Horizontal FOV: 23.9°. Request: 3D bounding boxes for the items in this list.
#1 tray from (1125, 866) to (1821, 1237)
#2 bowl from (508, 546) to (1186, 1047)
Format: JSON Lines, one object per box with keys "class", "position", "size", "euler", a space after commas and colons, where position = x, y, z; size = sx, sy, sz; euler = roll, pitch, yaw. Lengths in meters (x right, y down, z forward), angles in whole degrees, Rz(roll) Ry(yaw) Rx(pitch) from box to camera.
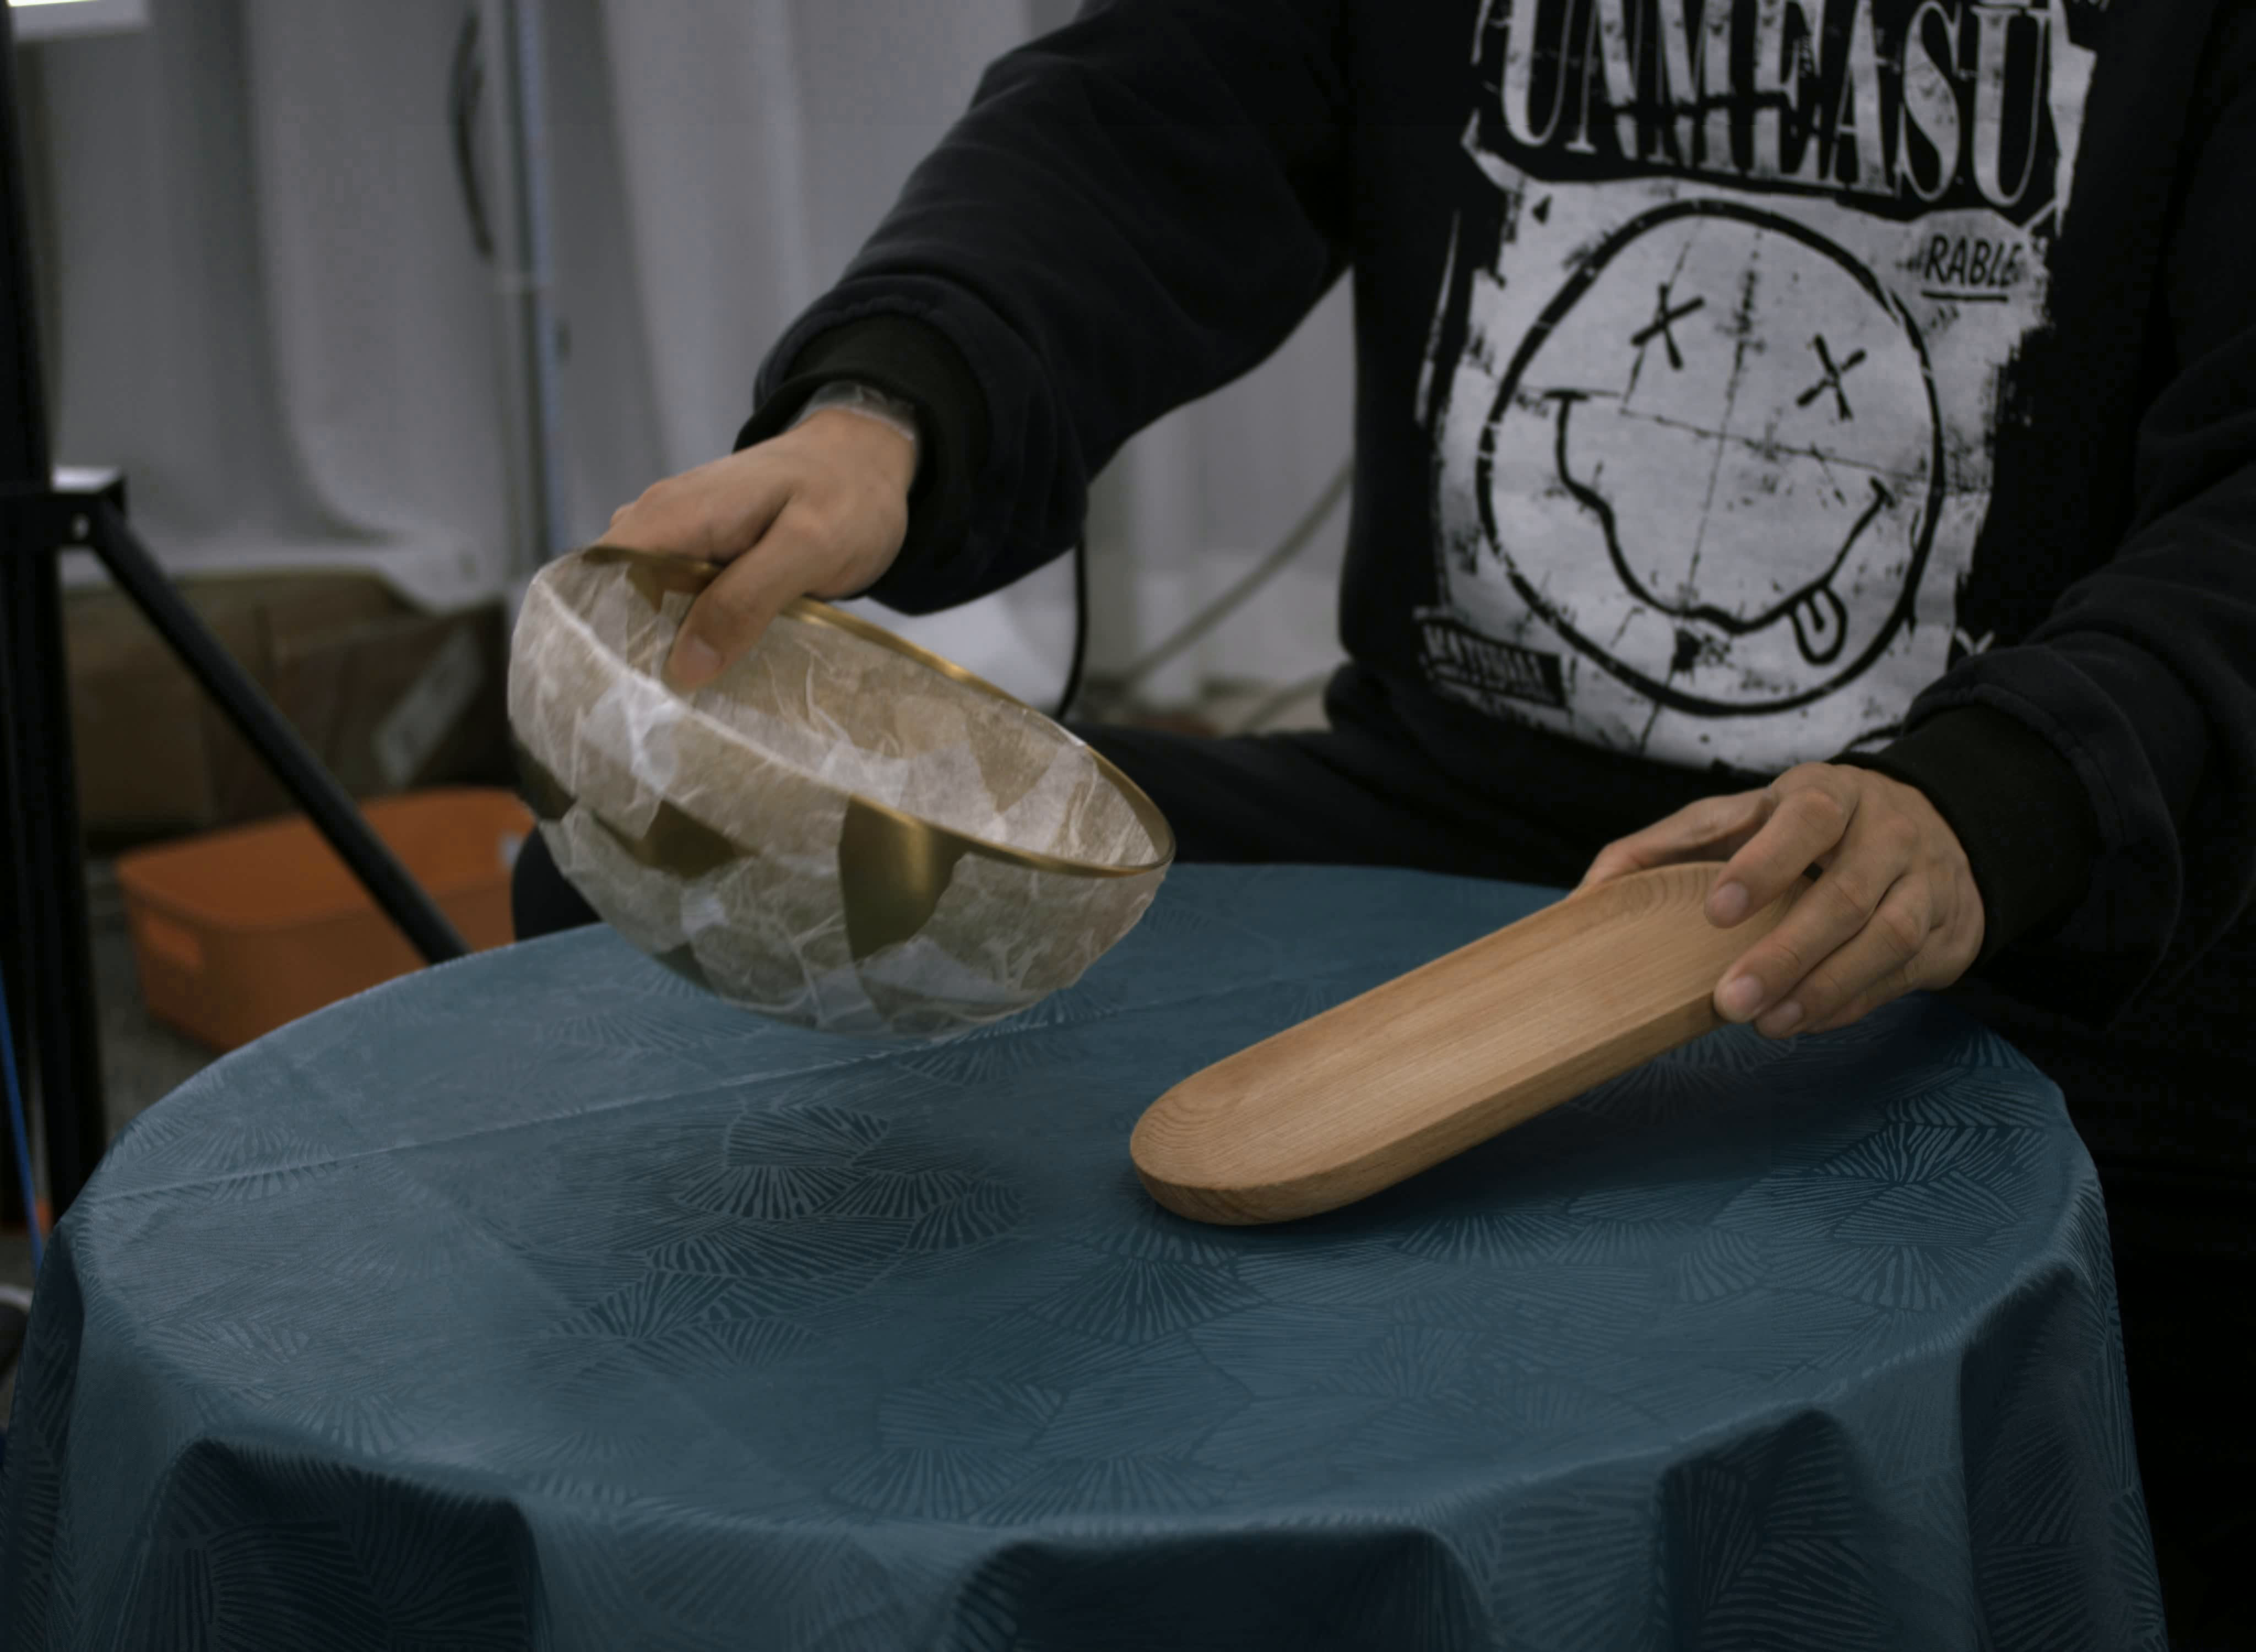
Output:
{"class": "tray", "position": [0.104, 0.066, 1.572], "size": [0.228, 0.020, 0.104], "euler": [-26, 20, -20]}
{"class": "bowl", "position": [-0.091, 0.006, 1.544], "size": [0.213, 0.095, 0.216], "euler": [23, 13, -7]}
